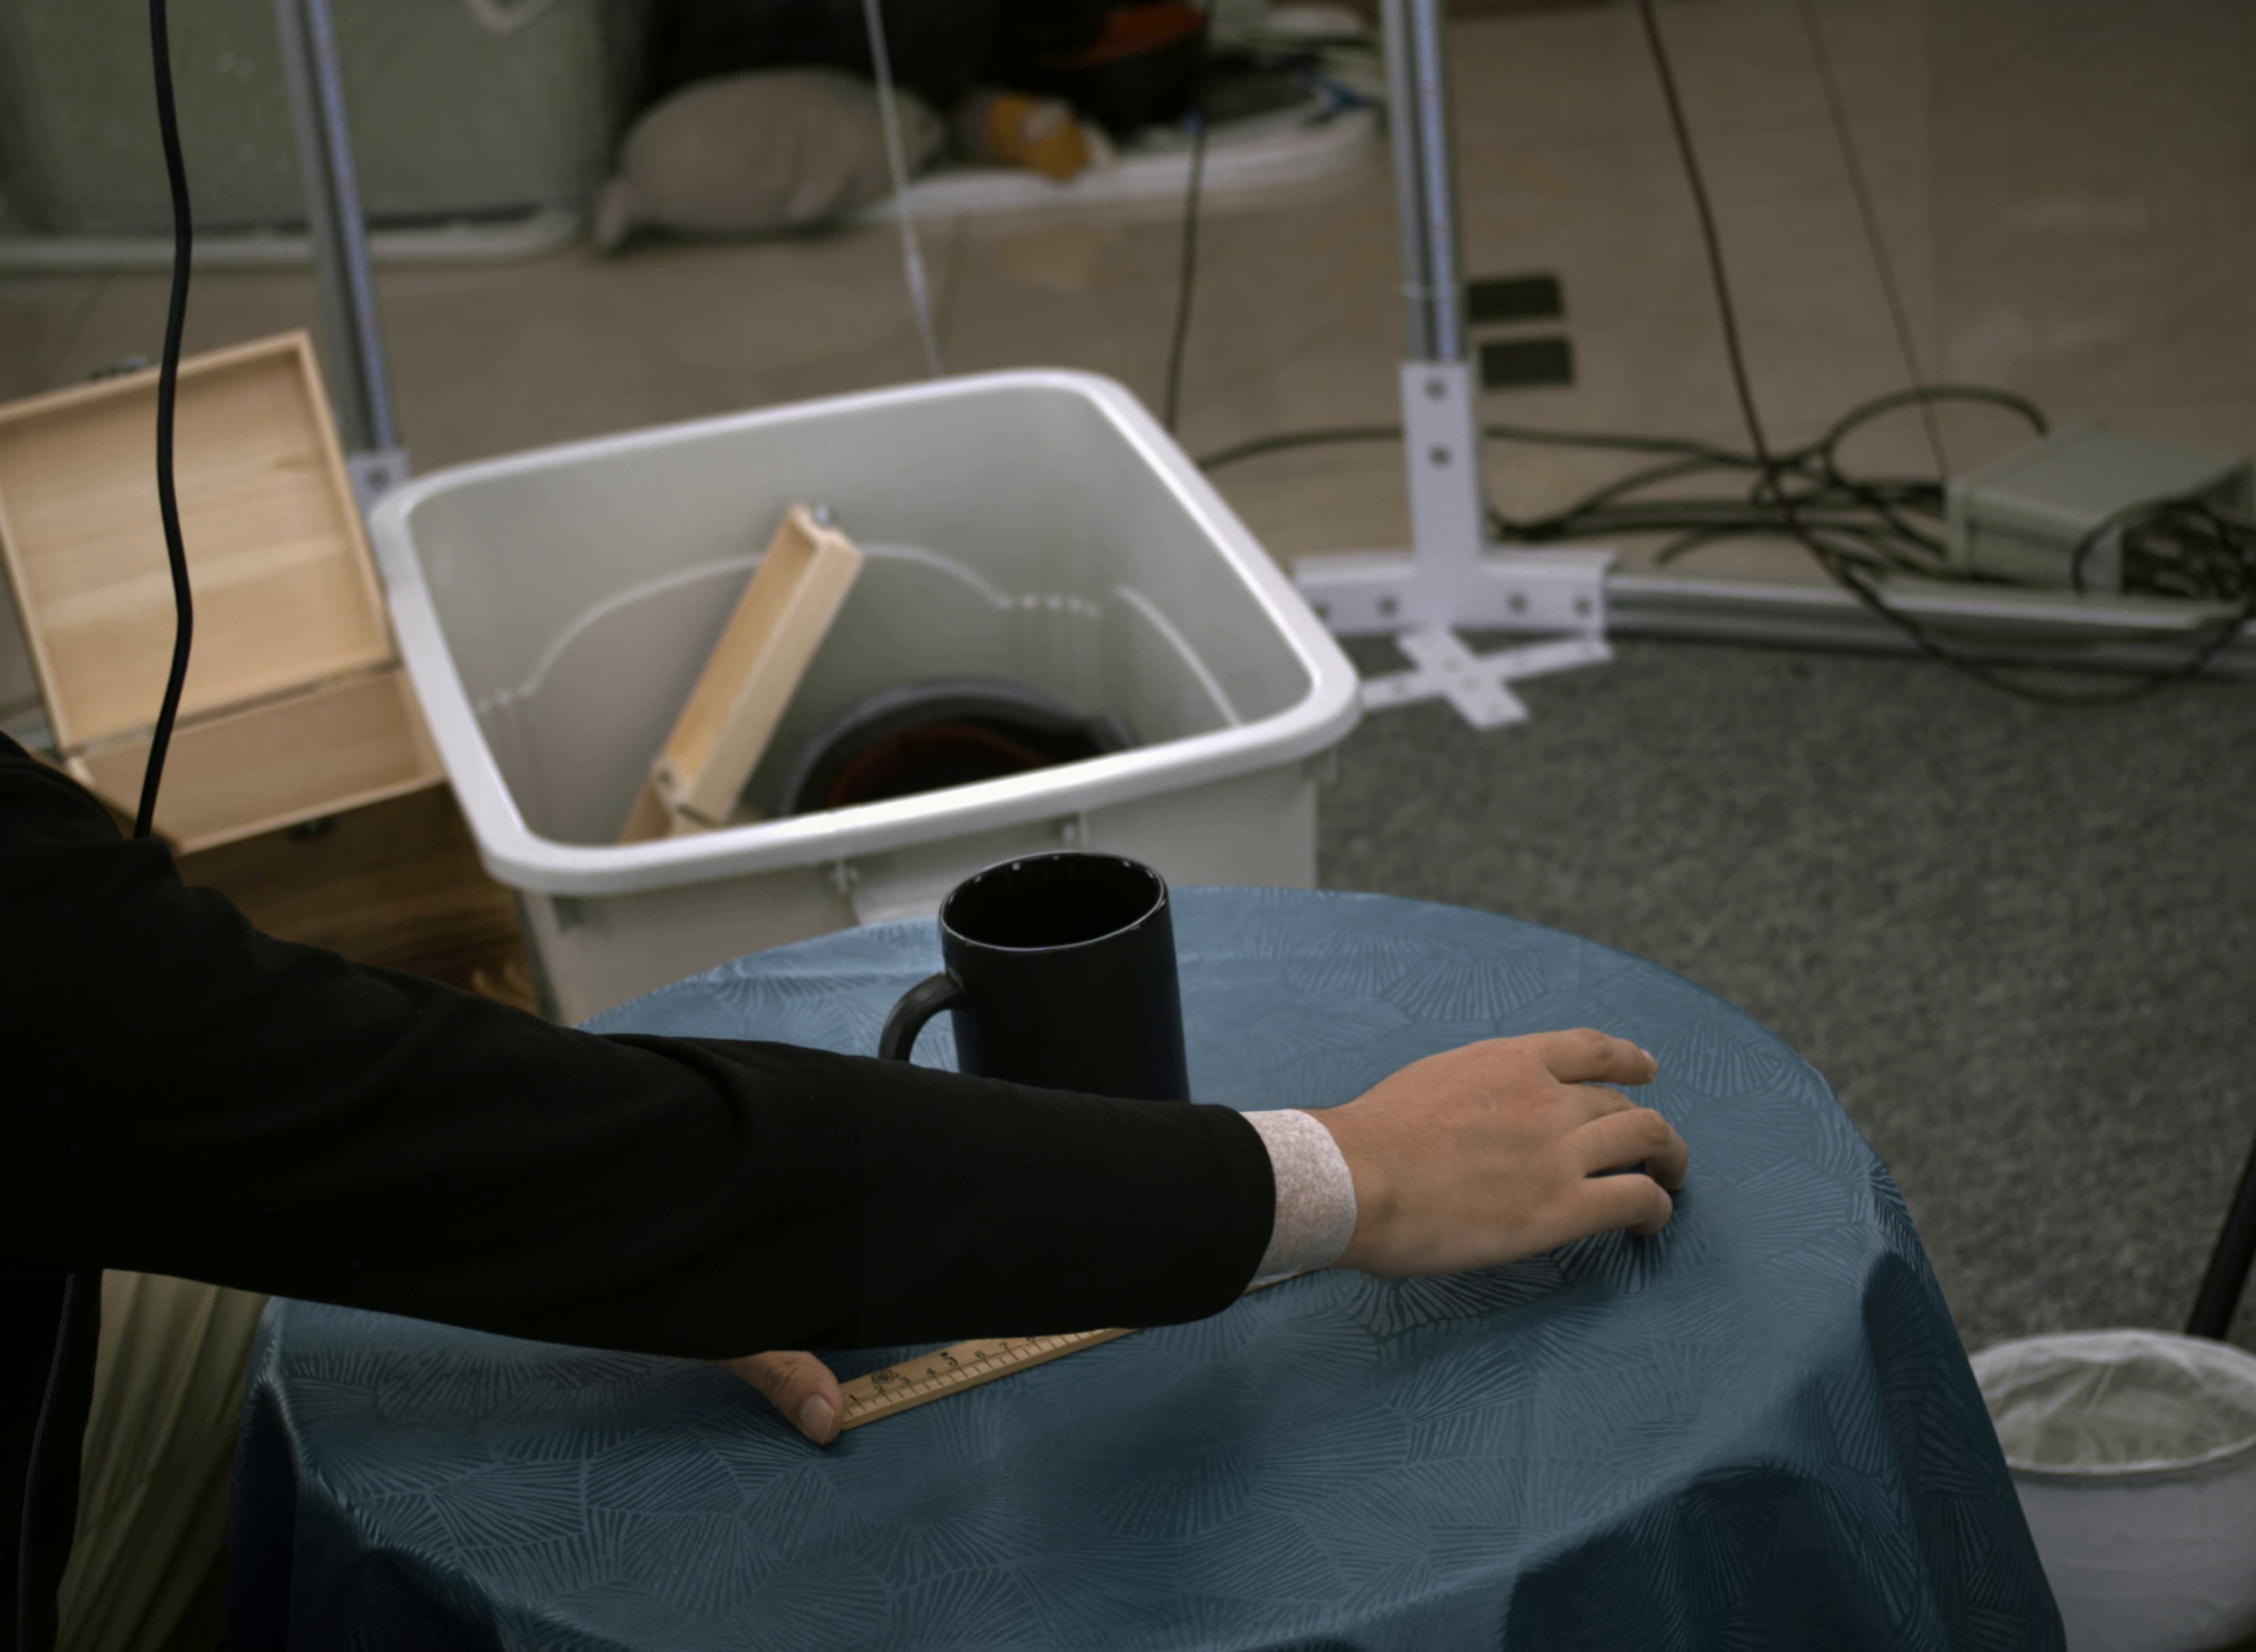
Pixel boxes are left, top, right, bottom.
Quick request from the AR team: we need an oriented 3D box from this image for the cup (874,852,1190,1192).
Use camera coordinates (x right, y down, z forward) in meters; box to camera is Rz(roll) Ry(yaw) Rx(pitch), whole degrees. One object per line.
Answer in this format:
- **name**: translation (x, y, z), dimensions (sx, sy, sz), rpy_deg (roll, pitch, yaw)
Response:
- **cup**: translation (-0.039, 0.079, 2.164), dimensions (0.123, 0.107, 0.087), rpy_deg (-18, 30, -20)

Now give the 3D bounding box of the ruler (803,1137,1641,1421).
- **ruler**: translation (0.038, 0.162, 2.078), dimensions (0.330, 0.022, 0.027), rpy_deg (-15, 23, -20)
